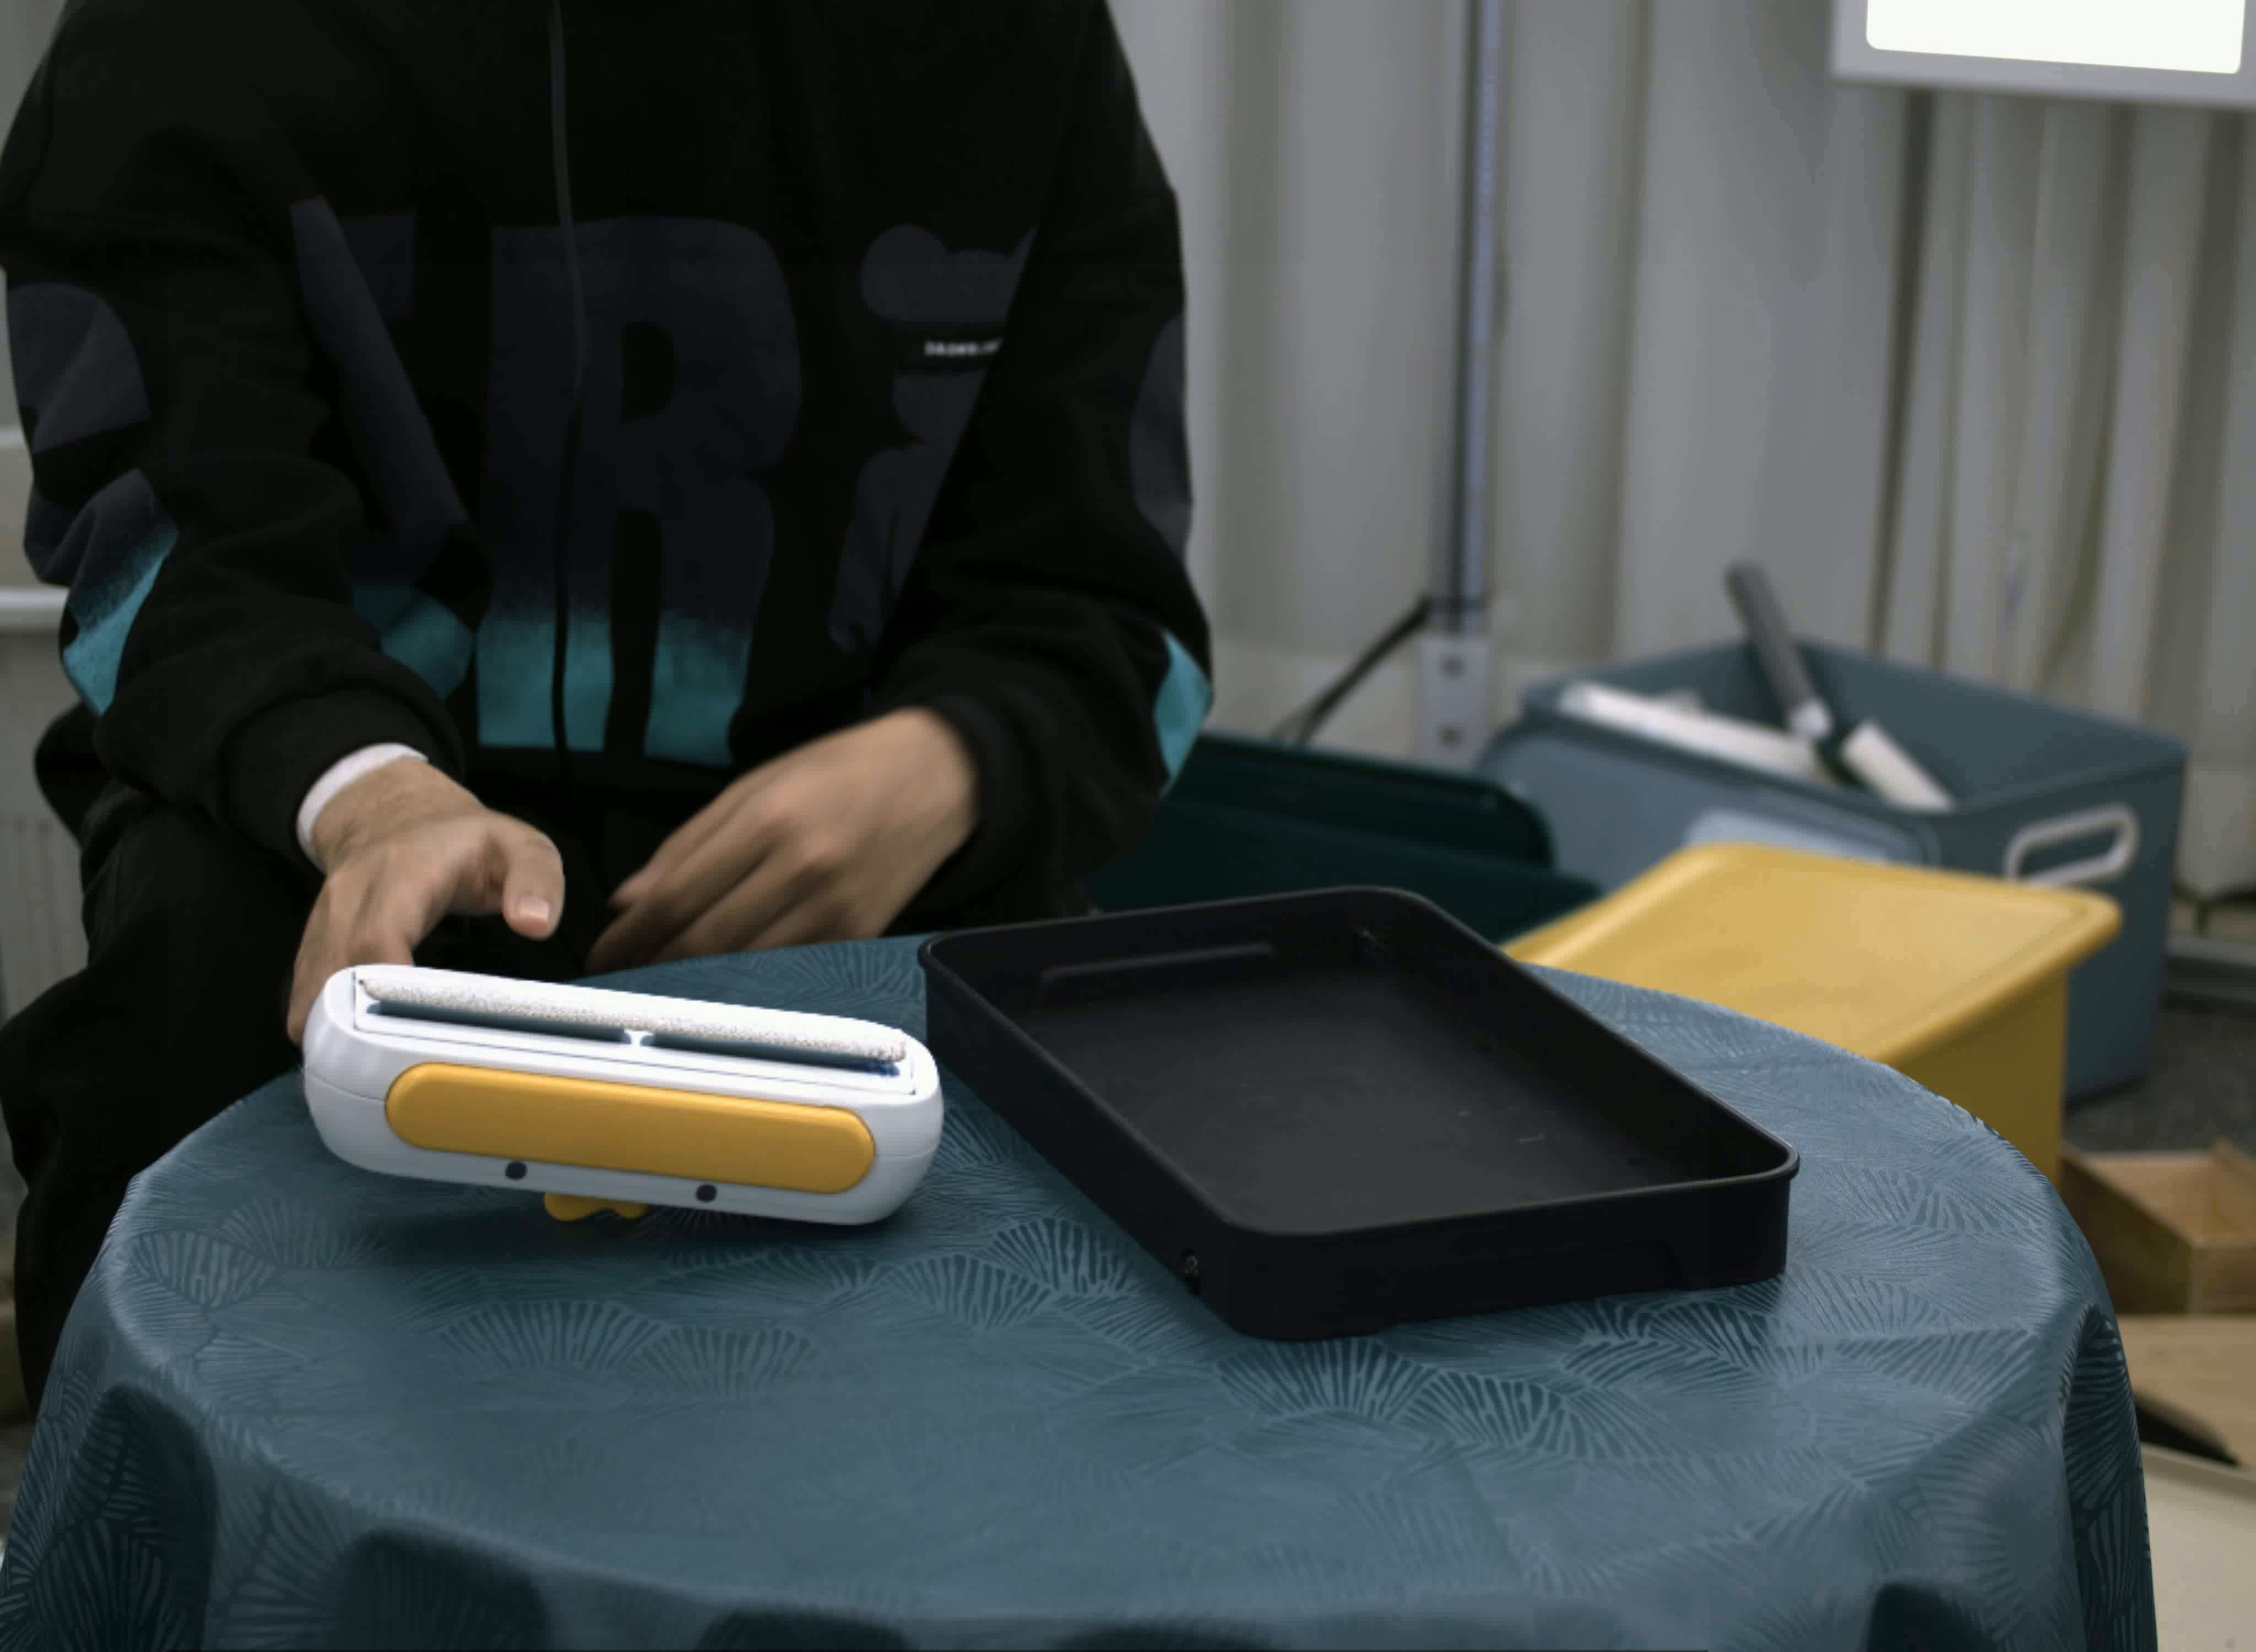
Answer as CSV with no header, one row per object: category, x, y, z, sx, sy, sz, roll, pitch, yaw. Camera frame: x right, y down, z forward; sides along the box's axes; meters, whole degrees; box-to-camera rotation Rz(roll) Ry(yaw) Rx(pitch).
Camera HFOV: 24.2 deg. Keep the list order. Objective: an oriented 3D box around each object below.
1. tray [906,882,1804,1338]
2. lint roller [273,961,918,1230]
tray,0.063,0.083,1.660,0.185,0.037,0.314,-6,17,-22
lint roller,-0.165,0.073,1.631,0.193,0.075,0.191,4,13,-7
